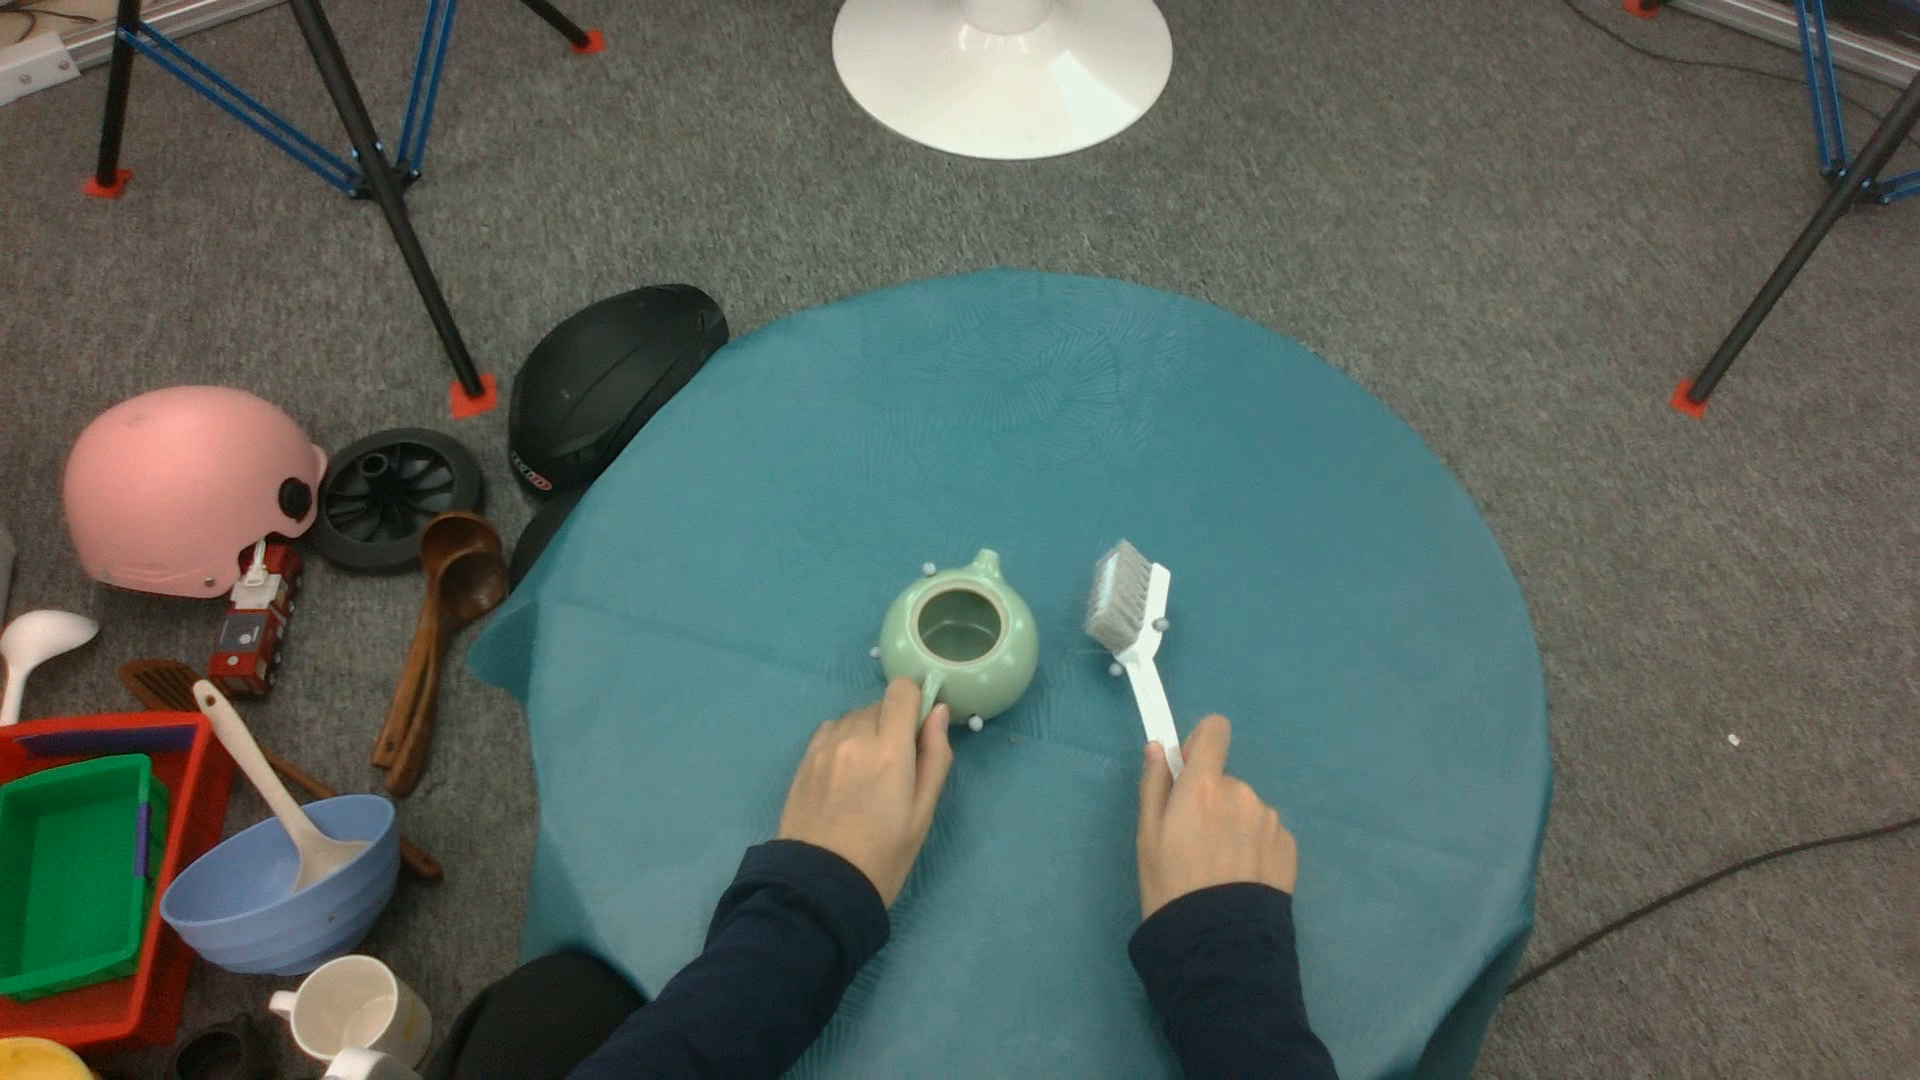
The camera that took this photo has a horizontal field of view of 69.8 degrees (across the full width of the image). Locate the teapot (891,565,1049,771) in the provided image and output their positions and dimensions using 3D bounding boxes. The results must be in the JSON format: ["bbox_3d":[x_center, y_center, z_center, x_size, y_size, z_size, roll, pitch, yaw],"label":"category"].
[{"bbox_3d":[0.001,0.076,0.794,0.091,0.060,0.129,25,59,9],"label":"teapot"}]

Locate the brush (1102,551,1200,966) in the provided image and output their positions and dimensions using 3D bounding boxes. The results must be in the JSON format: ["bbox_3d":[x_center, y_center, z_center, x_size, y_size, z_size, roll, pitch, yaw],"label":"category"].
[{"bbox_3d":[0.106,0.111,0.765,0.034,0.050,0.245,-23,46,30],"label":"brush"}]
